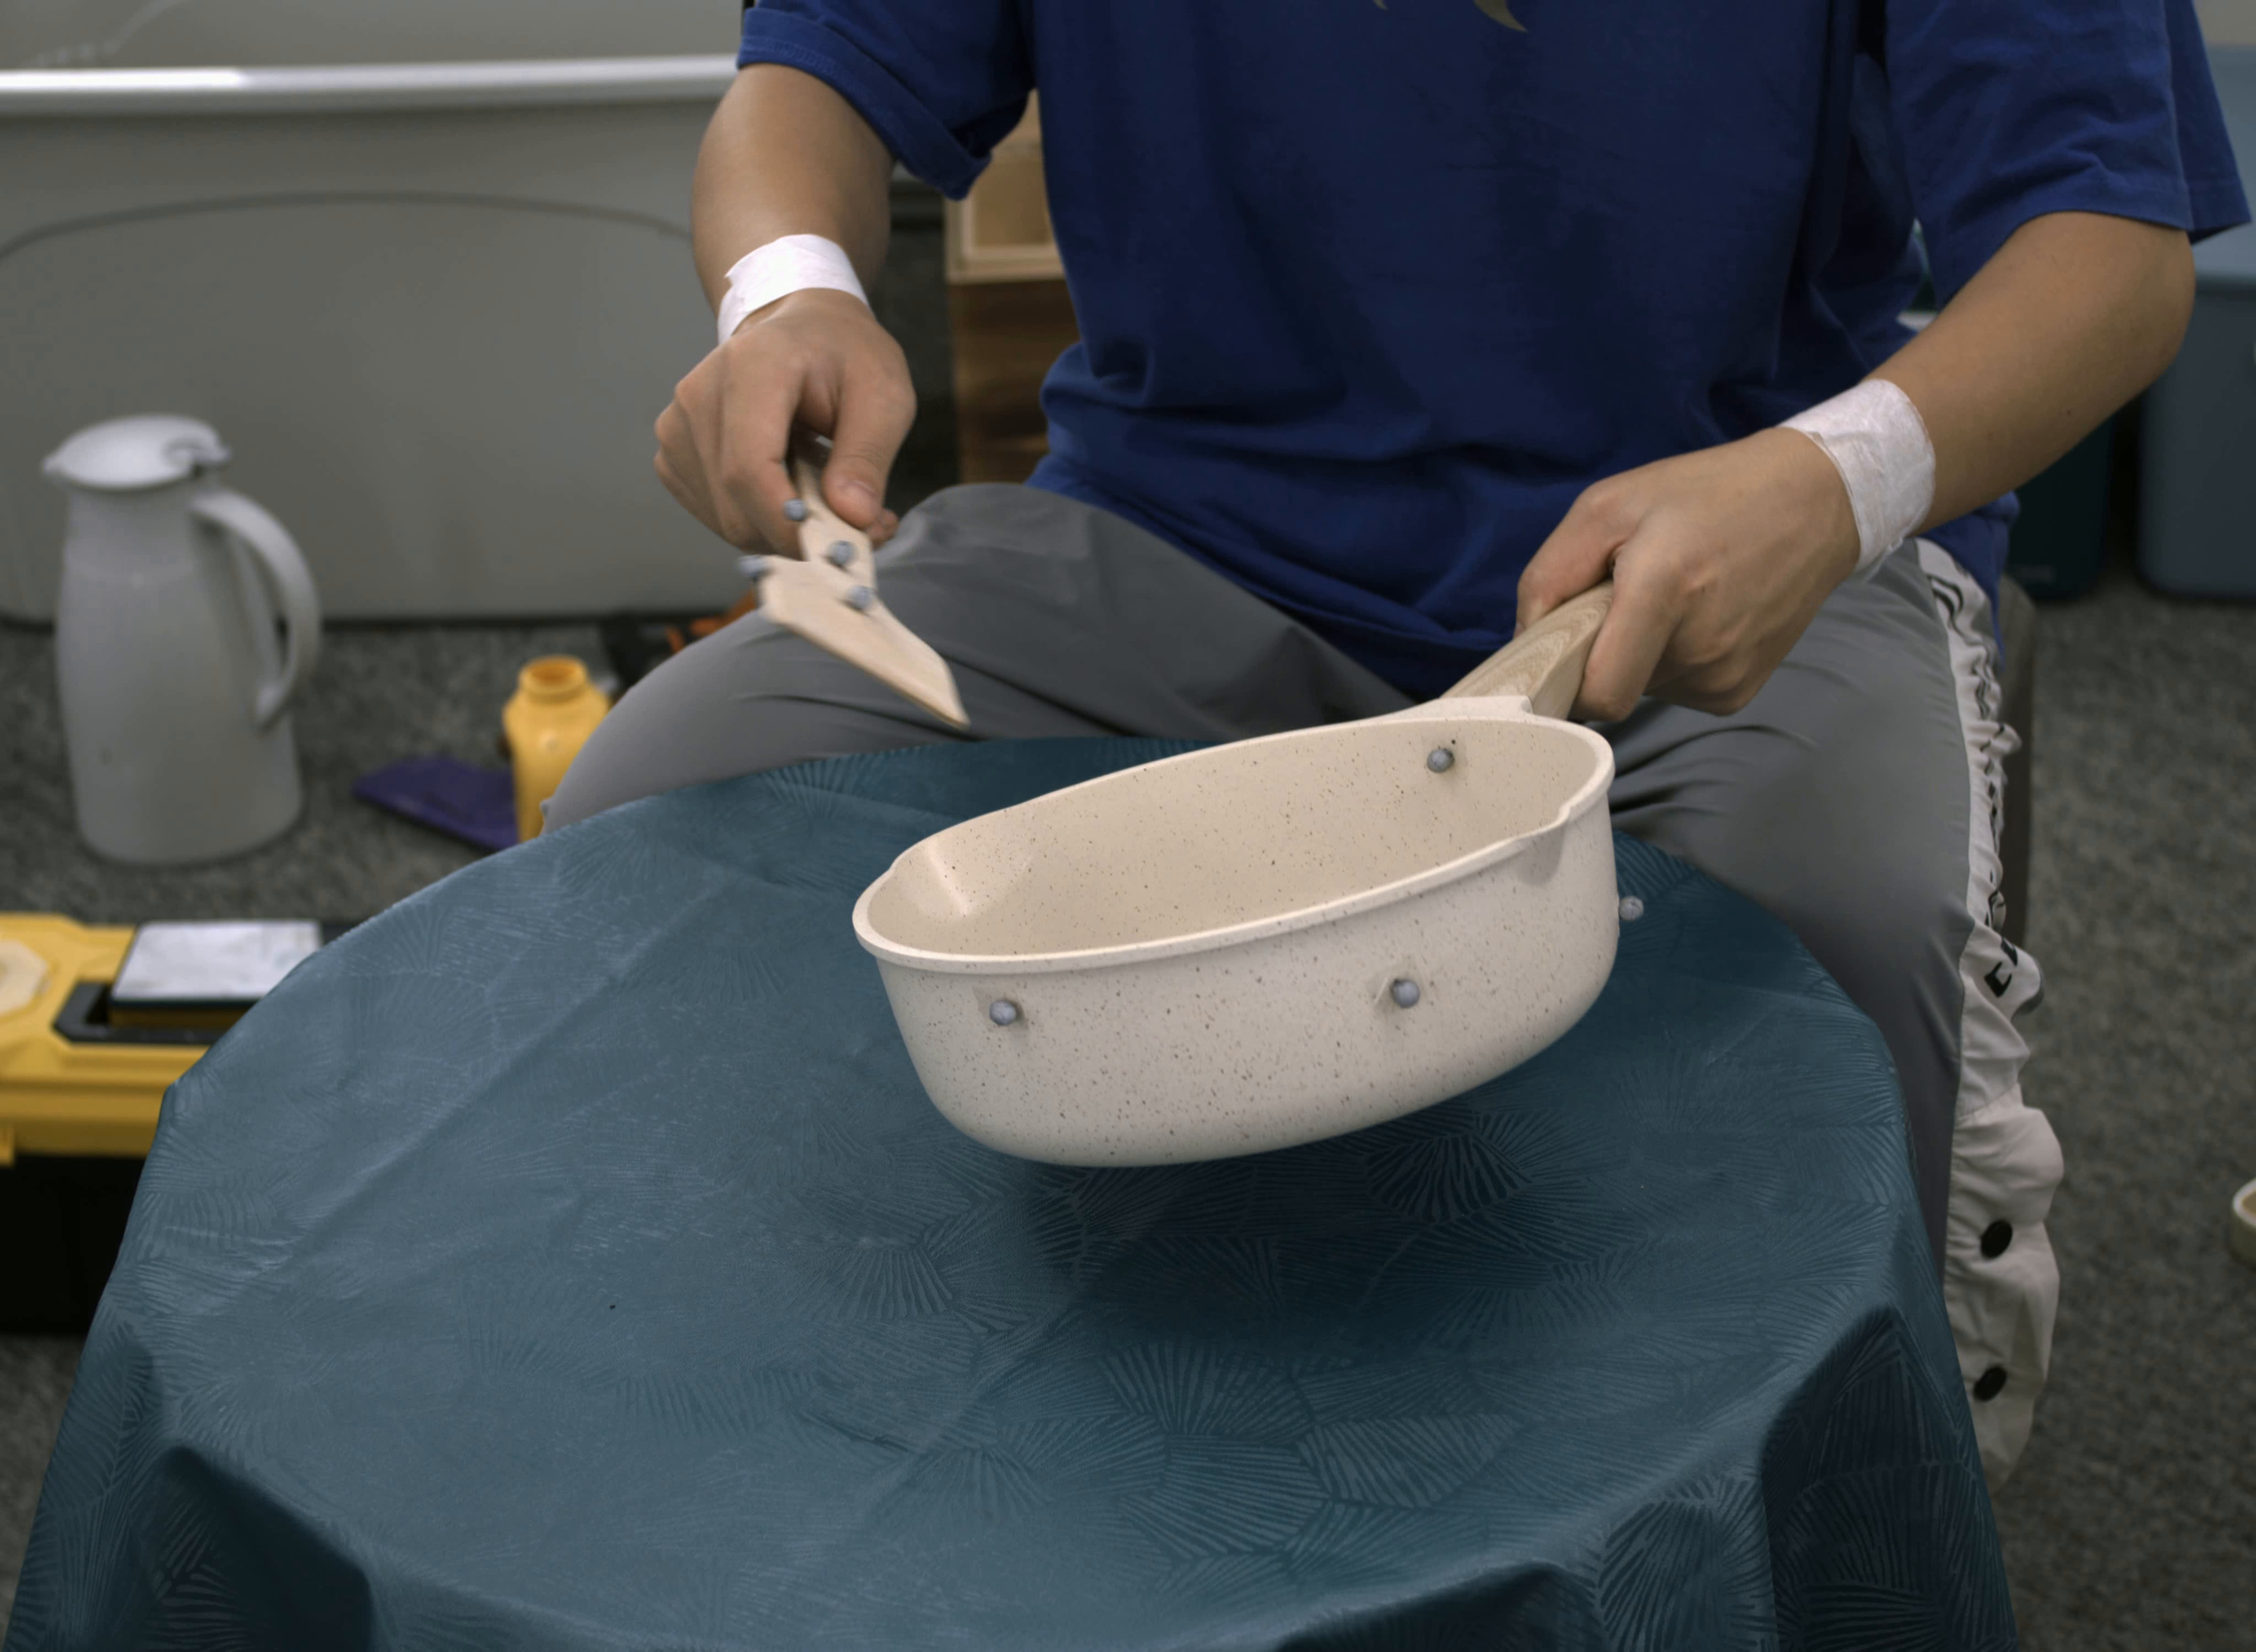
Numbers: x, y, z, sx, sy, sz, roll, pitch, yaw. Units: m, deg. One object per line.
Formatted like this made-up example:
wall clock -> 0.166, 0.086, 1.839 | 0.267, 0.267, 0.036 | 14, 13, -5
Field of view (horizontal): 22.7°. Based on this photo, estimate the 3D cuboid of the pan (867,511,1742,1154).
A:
pan -> 0.098, 0.001, 1.887 | 0.260, 0.102, 0.440 | -5, 15, 39

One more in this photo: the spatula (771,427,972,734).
spatula -> -0.095, -0.092, 1.907 | 0.072, 0.010, 0.295 | 32, 12, -15
